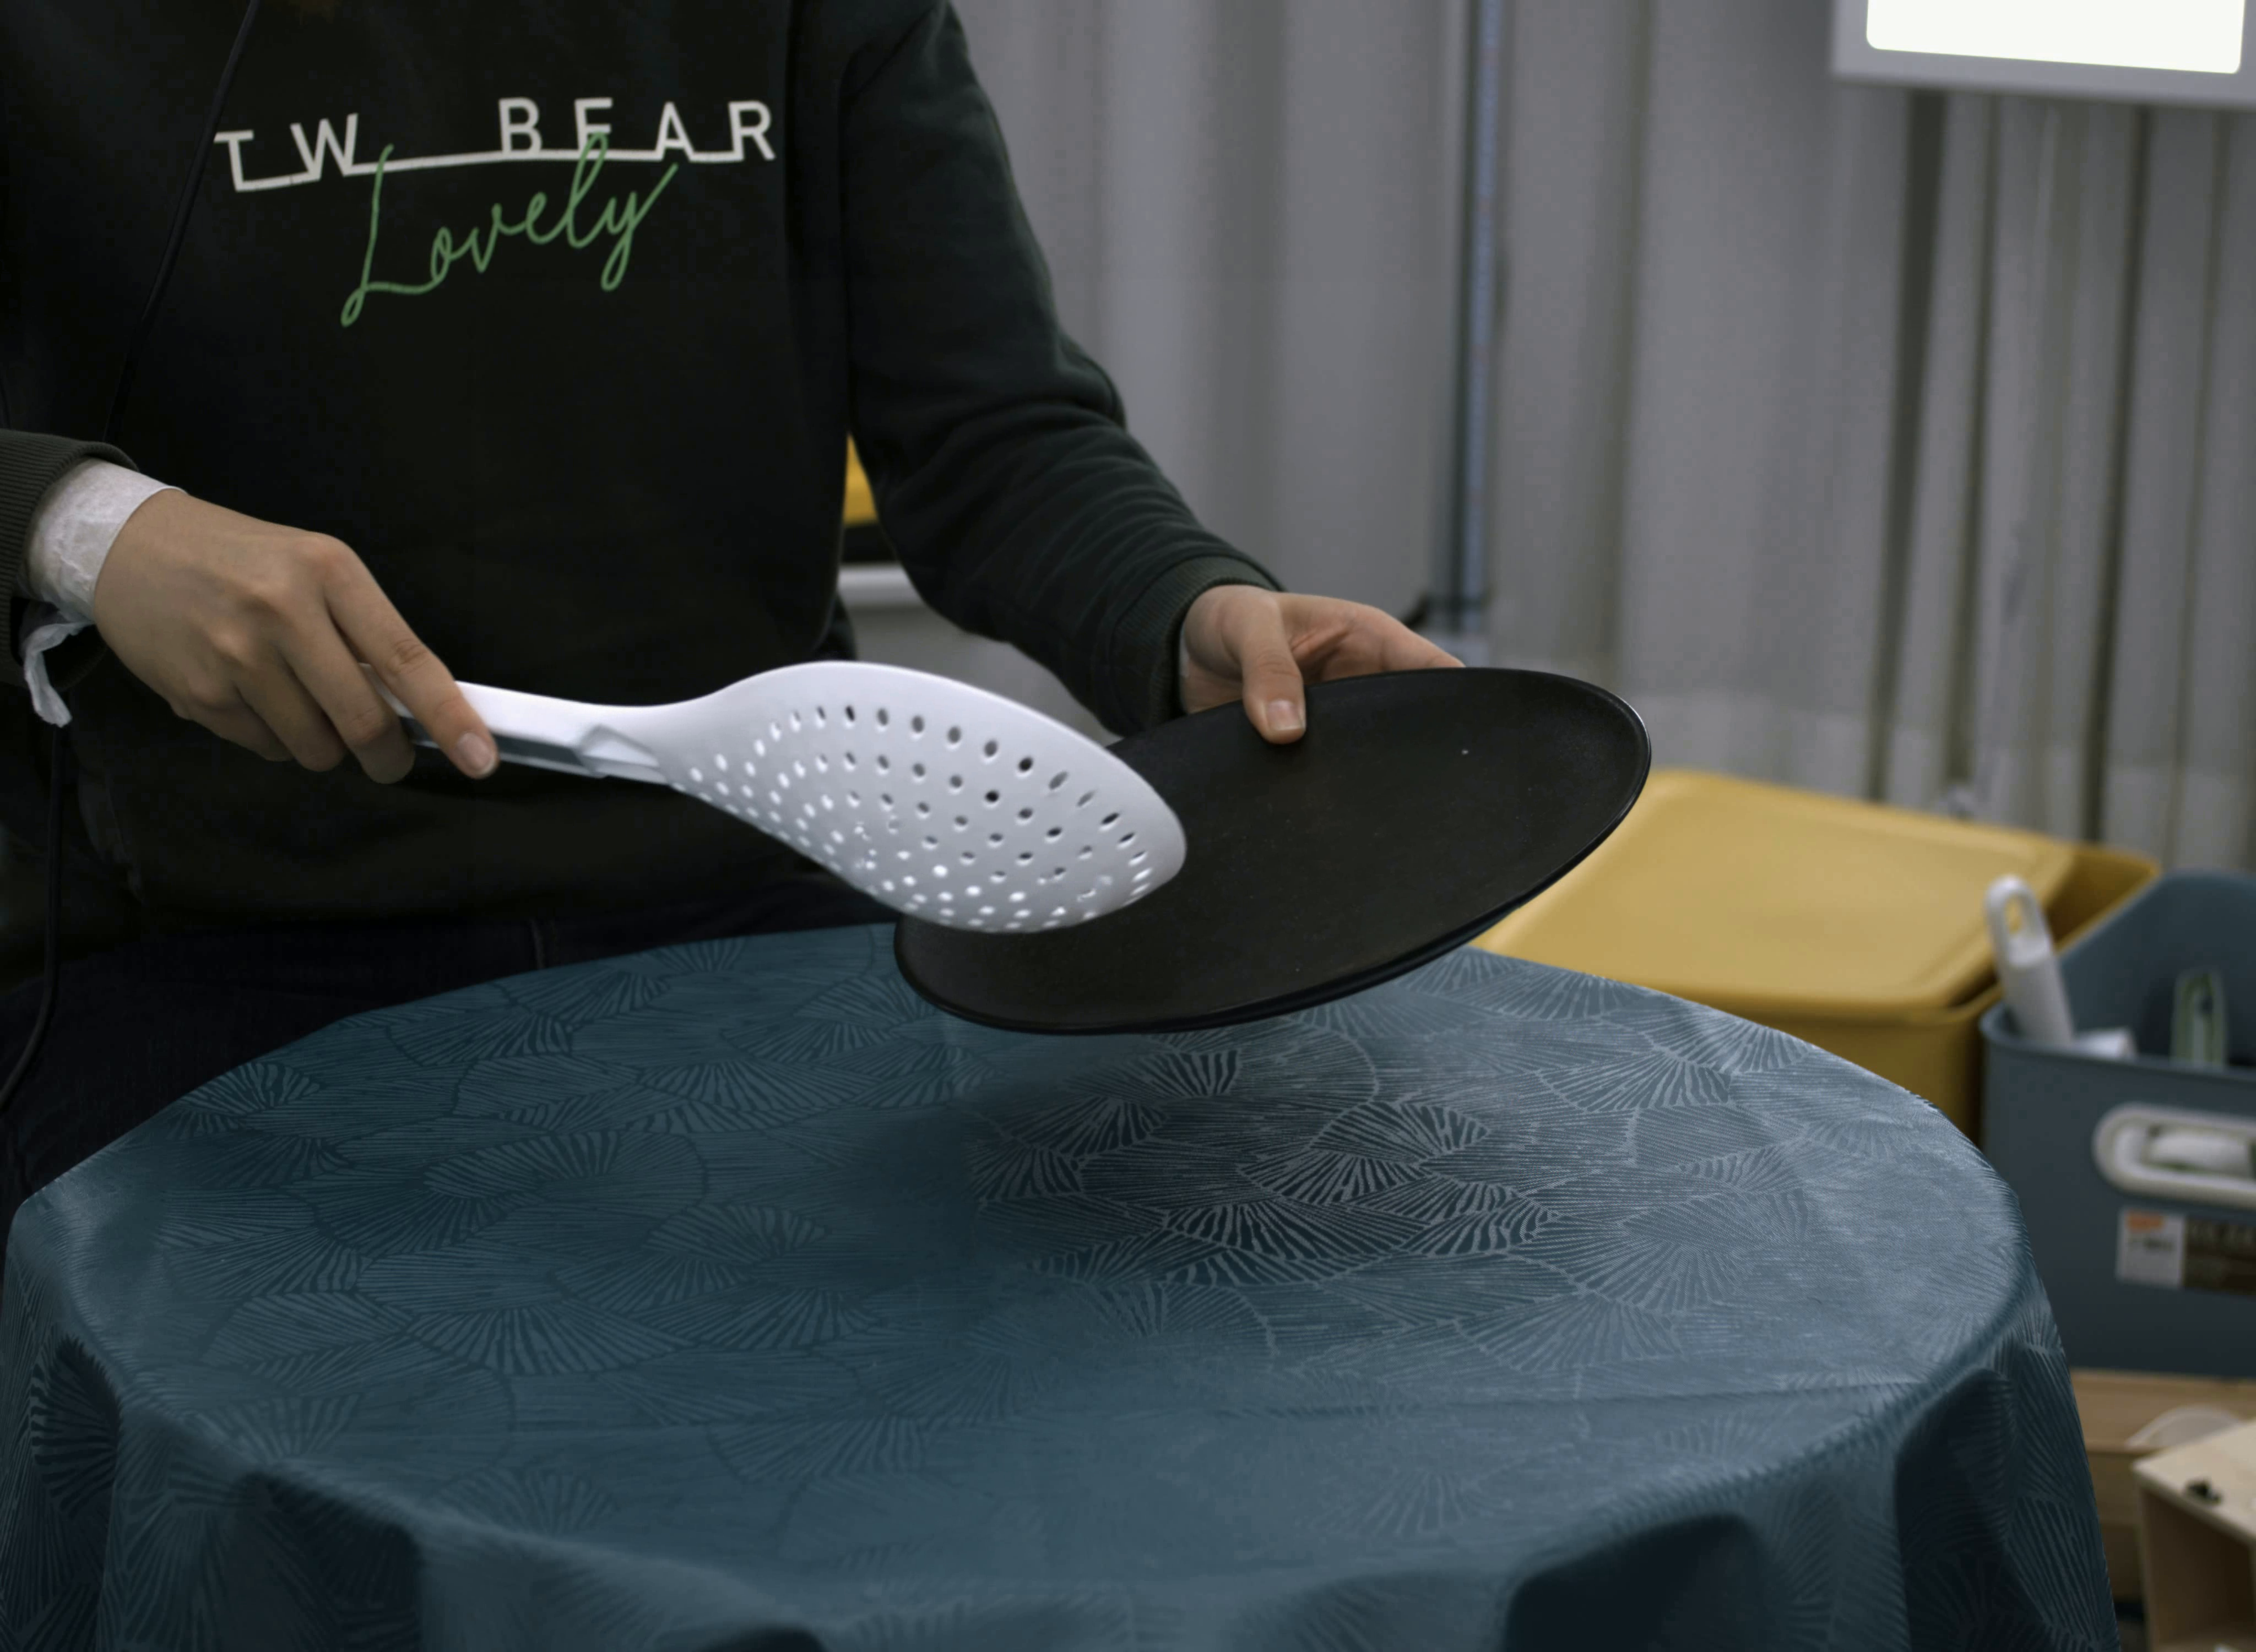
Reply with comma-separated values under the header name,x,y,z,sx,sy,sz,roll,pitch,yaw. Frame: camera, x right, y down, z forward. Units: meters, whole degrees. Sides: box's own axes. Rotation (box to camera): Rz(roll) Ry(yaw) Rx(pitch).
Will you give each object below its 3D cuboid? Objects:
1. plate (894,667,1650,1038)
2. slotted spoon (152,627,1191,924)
name,x,y,z,sx,sy,sz,roll,pitch,yaw
plate,0.046,0.012,1.638,0.243,0.024,0.242,-14,22,7
slotted spoon,-0.145,-0.026,1.575,0.346,0.045,0.138,14,-24,25
